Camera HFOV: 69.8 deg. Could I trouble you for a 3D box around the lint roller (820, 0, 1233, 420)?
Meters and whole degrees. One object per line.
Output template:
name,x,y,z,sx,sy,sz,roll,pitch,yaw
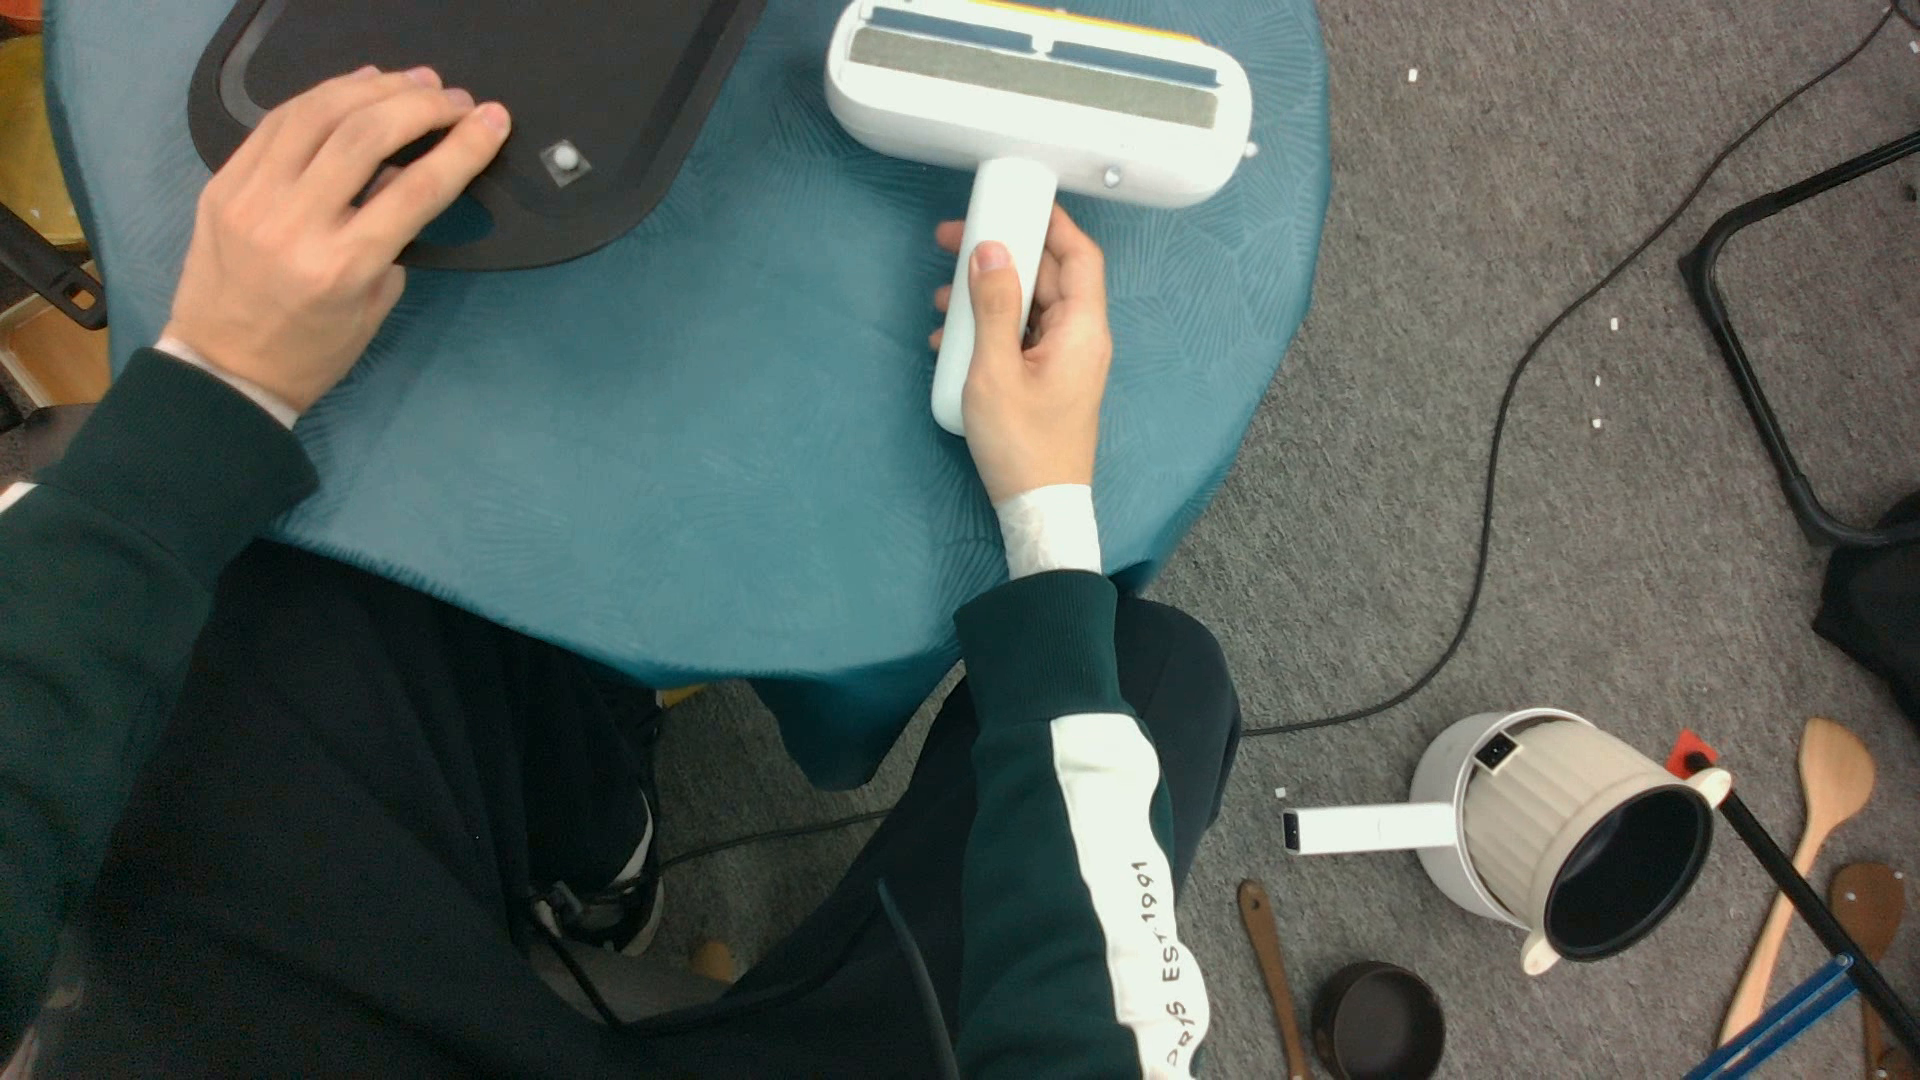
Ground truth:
lint roller,0.013,-0.149,0.650,0.193,0.074,0.192,17,96,3

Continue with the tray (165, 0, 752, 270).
tray,-0.183,-0.253,0.574,0.211,0.010,0.326,18,70,8
